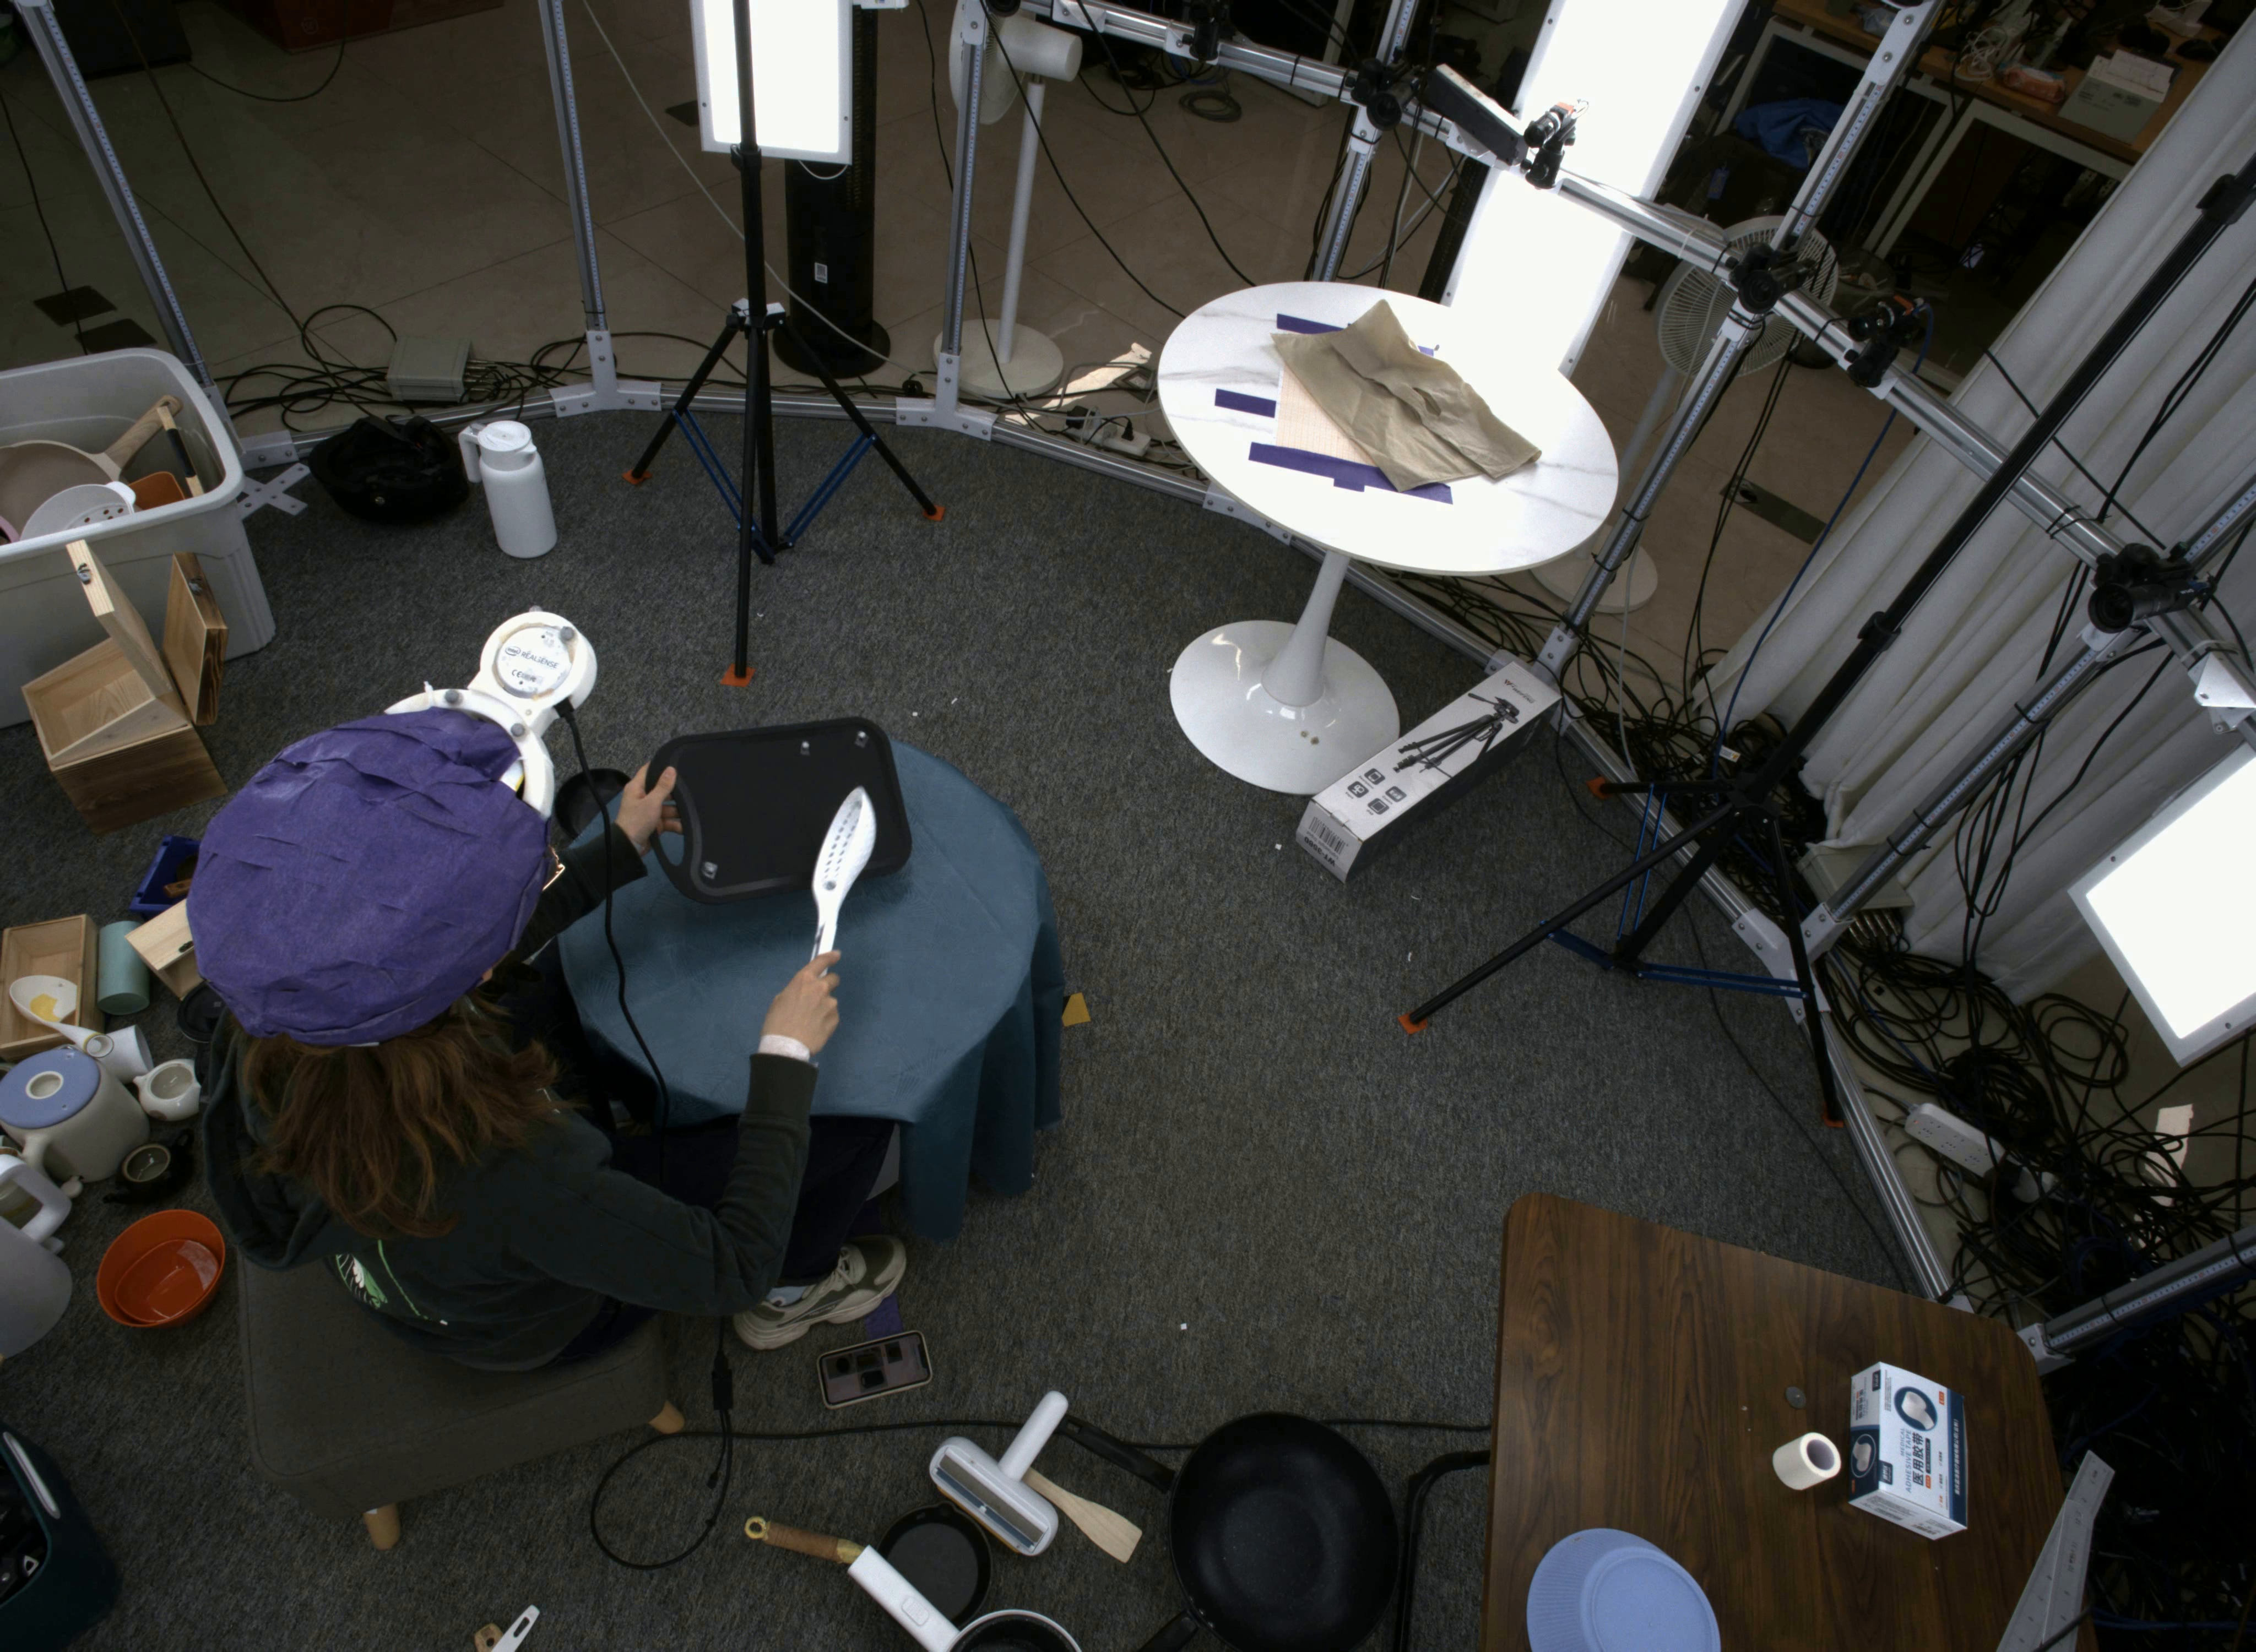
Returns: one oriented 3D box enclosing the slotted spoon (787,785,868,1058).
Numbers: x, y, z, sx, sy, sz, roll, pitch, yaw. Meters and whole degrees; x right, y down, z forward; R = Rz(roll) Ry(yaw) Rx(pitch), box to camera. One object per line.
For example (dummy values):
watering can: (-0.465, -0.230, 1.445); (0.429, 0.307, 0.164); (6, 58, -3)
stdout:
slotted spoon: (-0.344, 0.101, 1.462); (0.046, 0.136, 0.343); (25, 45, -20)

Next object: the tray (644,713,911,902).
tray: (-0.429, -0.027, 1.595); (0.329, 0.009, 0.212); (-10, 85, -34)
